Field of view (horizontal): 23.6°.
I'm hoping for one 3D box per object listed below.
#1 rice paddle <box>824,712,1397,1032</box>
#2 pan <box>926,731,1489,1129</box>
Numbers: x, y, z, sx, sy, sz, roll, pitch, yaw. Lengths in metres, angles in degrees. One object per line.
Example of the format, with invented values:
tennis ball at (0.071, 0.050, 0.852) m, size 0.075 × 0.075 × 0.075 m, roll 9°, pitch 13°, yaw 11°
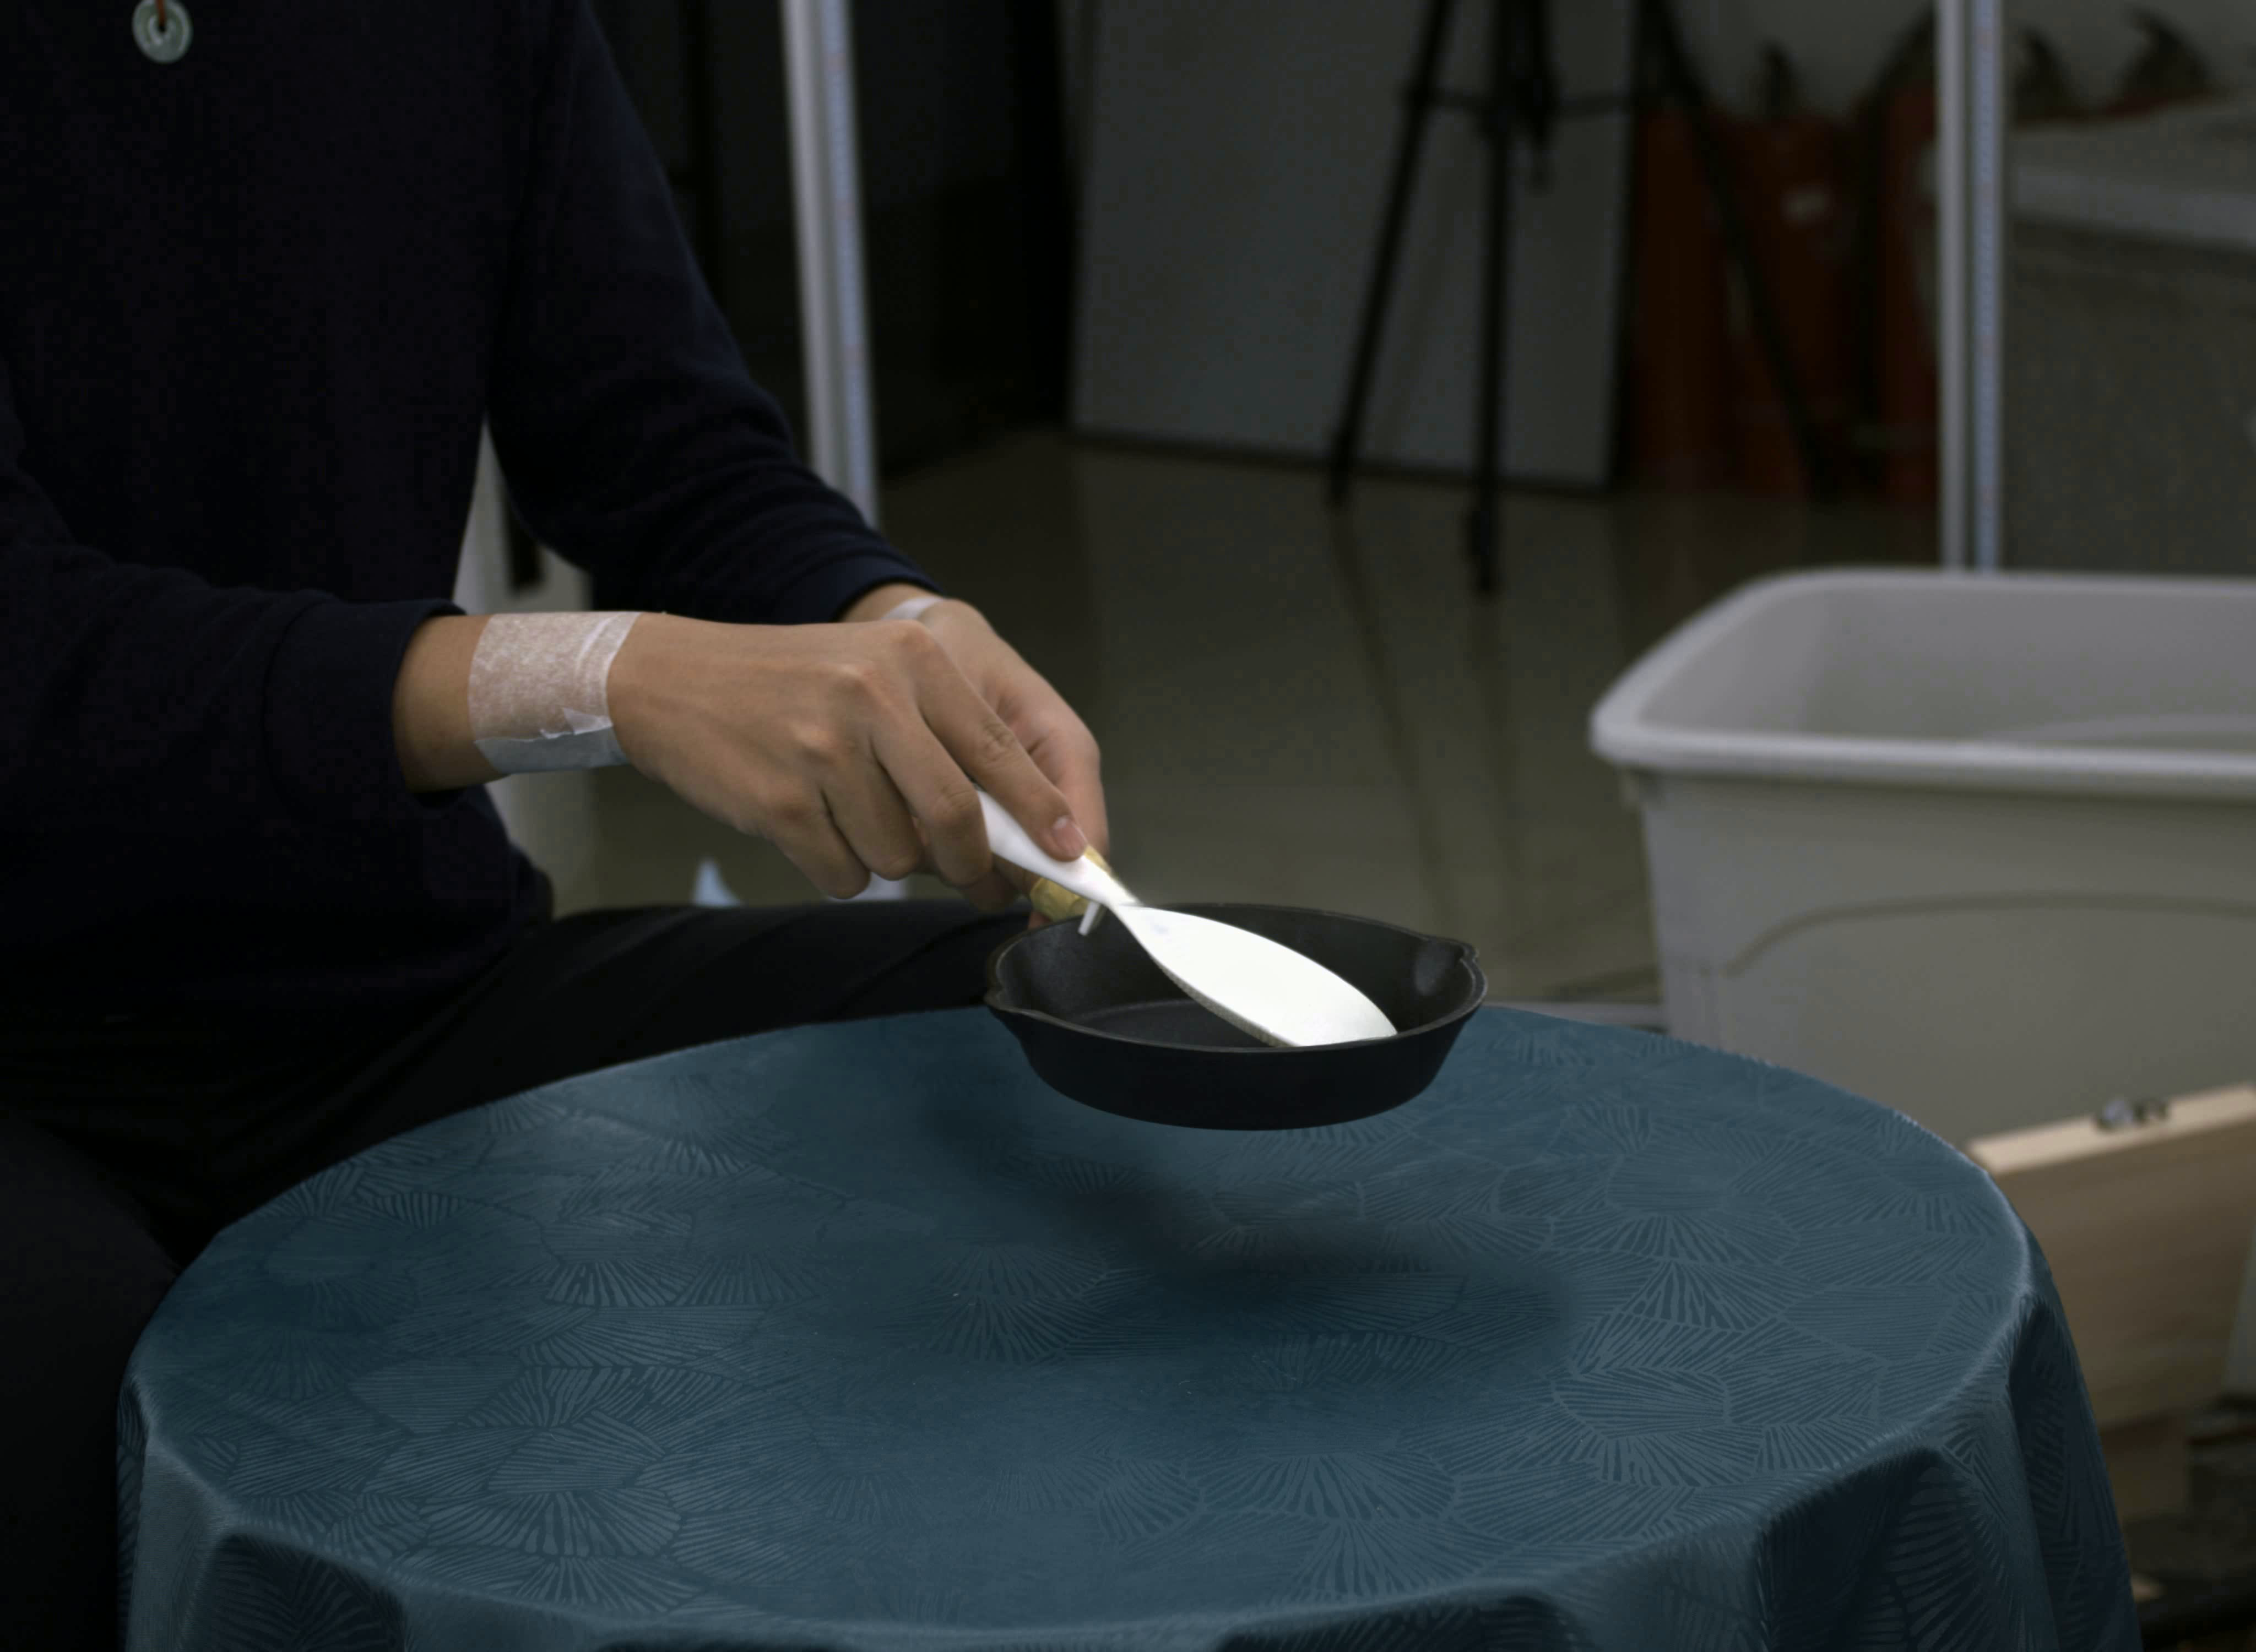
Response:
rice paddle at (-0.001, 0.023, 1.700) m, size 0.205 × 0.030 × 0.068 m, roll 28°, pitch 23°, yaw 12°
pan at (0.001, 0.031, 1.753) m, size 0.165 × 0.050 × 0.327 m, roll -6°, pitch 17°, yaw -23°
